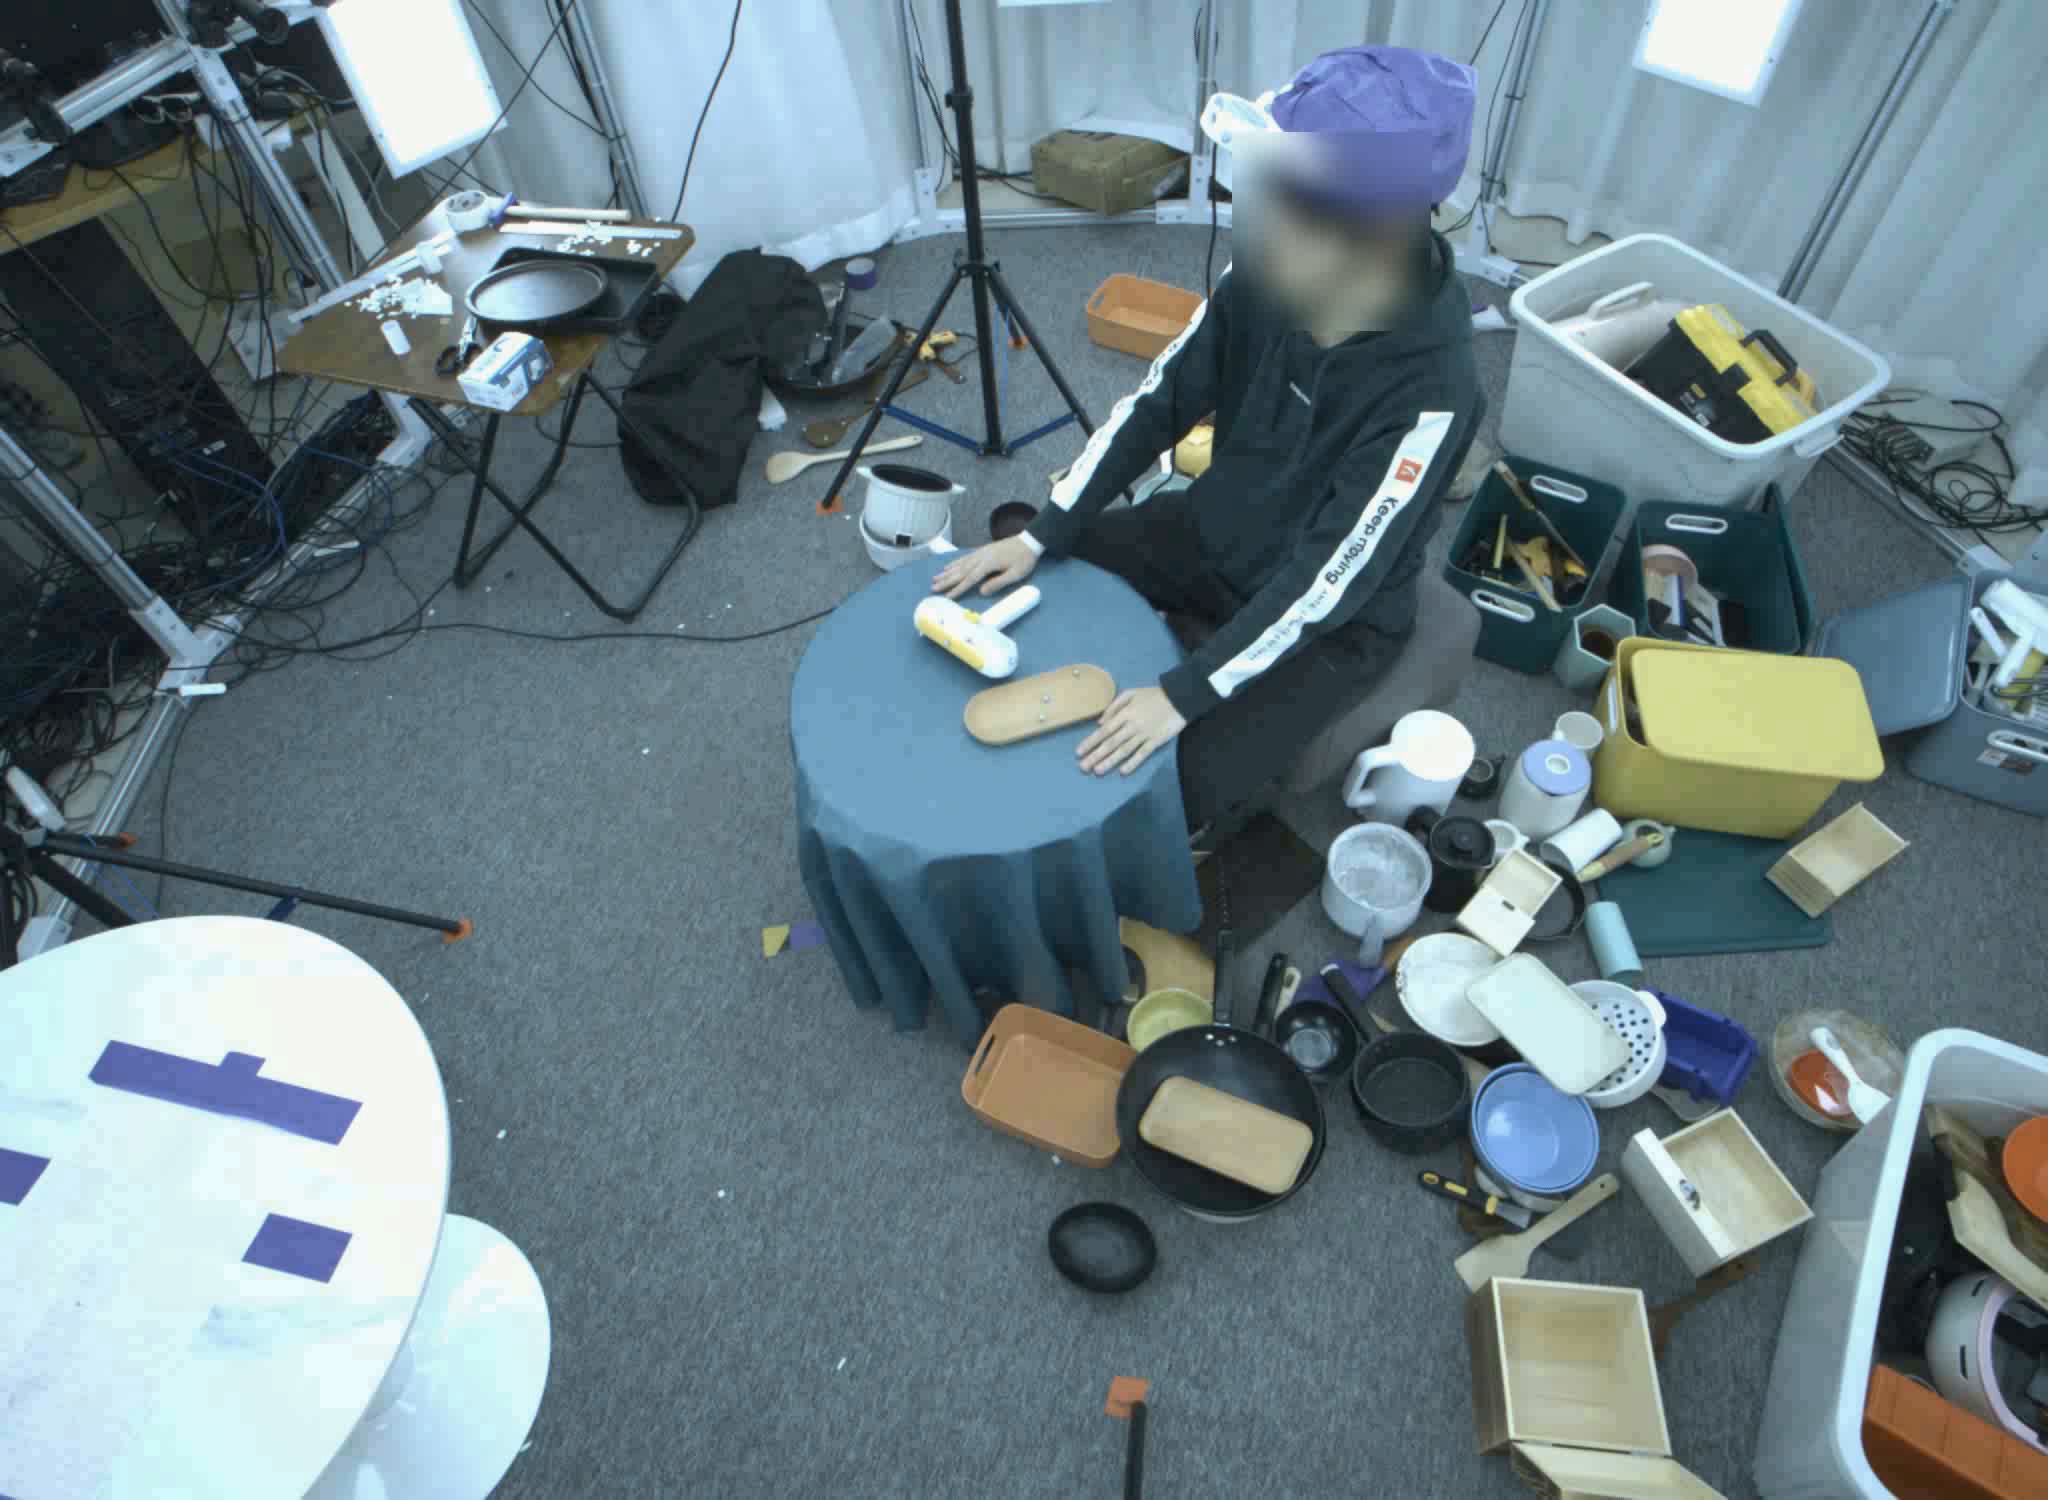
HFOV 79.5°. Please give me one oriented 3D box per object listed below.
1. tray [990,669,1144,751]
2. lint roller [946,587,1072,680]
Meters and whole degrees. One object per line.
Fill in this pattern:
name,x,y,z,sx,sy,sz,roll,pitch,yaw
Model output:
tray,0.064,-0.059,1.812,0.232,0.020,0.100,-16,55,-8
lint roller,0.002,-0.196,1.892,0.189,0.074,0.195,31,42,29
